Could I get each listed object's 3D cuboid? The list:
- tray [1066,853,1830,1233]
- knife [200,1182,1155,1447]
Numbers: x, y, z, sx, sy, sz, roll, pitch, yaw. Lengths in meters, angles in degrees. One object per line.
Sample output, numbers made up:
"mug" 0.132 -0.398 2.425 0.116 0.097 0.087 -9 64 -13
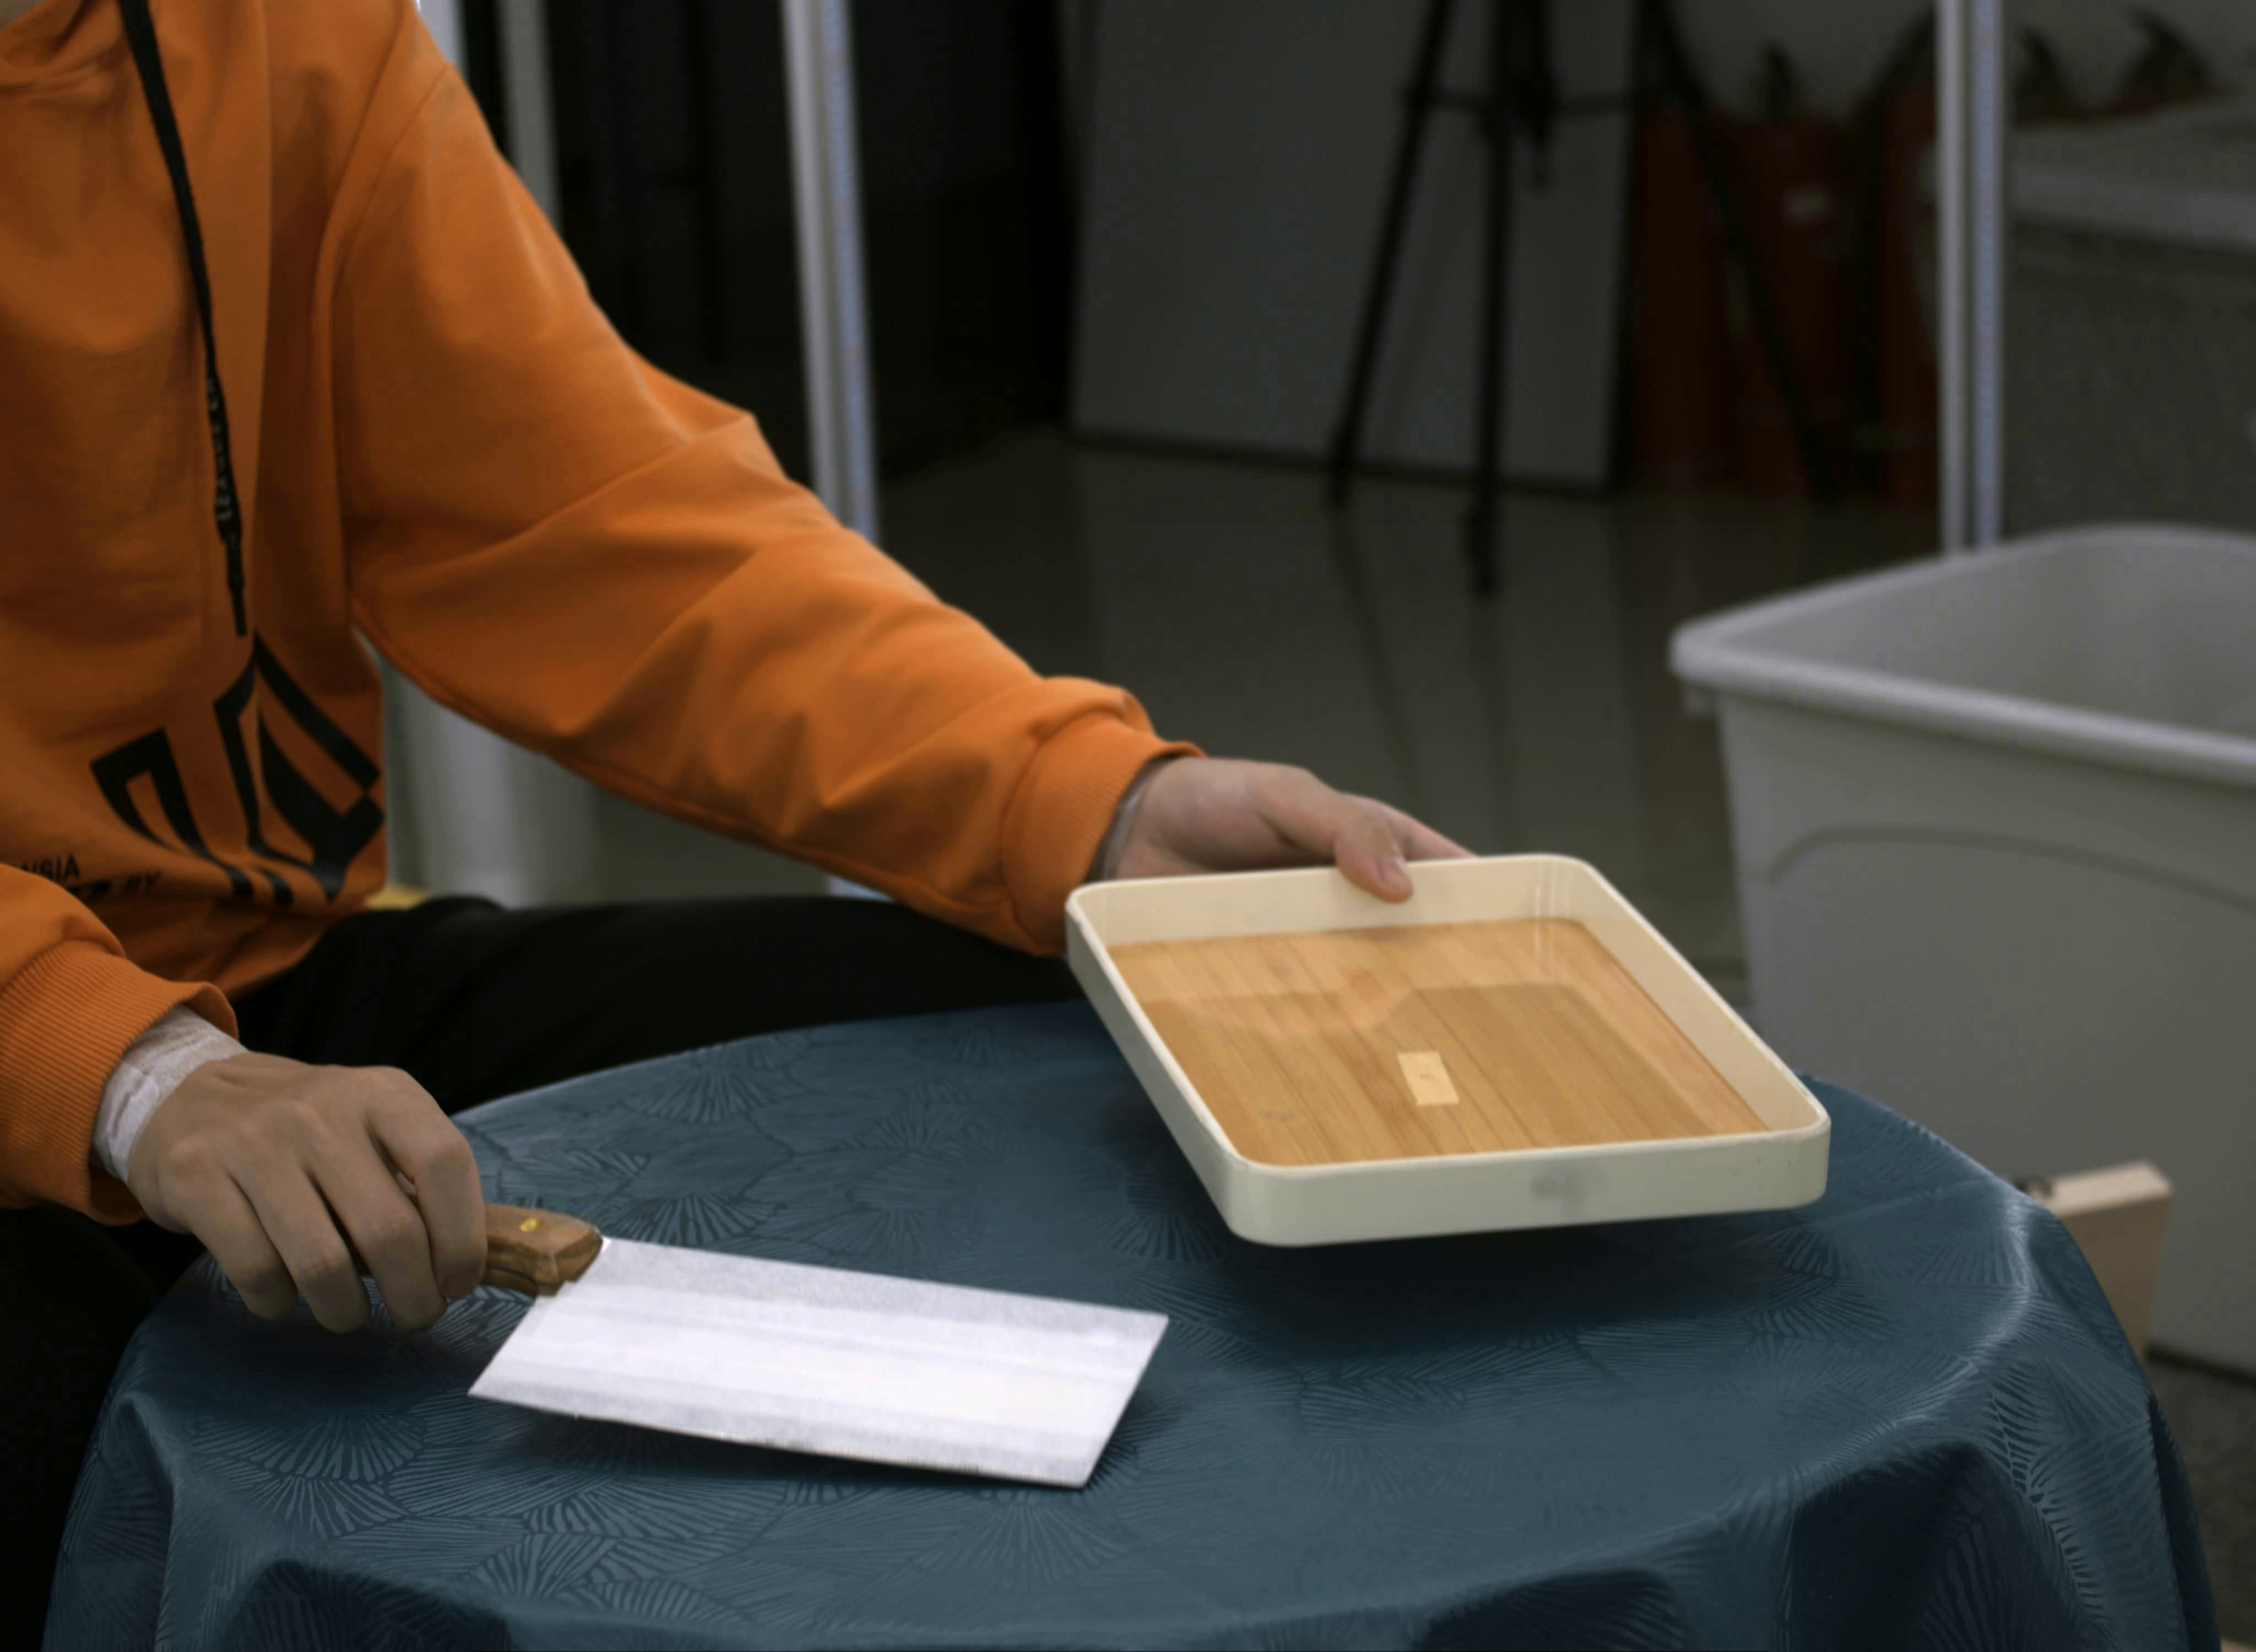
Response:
"tray" 0.096 0.066 1.744 0.188 0.028 0.302 -3 16 -10
"knife" -0.143 0.147 1.593 0.305 0.021 0.092 6 29 17
